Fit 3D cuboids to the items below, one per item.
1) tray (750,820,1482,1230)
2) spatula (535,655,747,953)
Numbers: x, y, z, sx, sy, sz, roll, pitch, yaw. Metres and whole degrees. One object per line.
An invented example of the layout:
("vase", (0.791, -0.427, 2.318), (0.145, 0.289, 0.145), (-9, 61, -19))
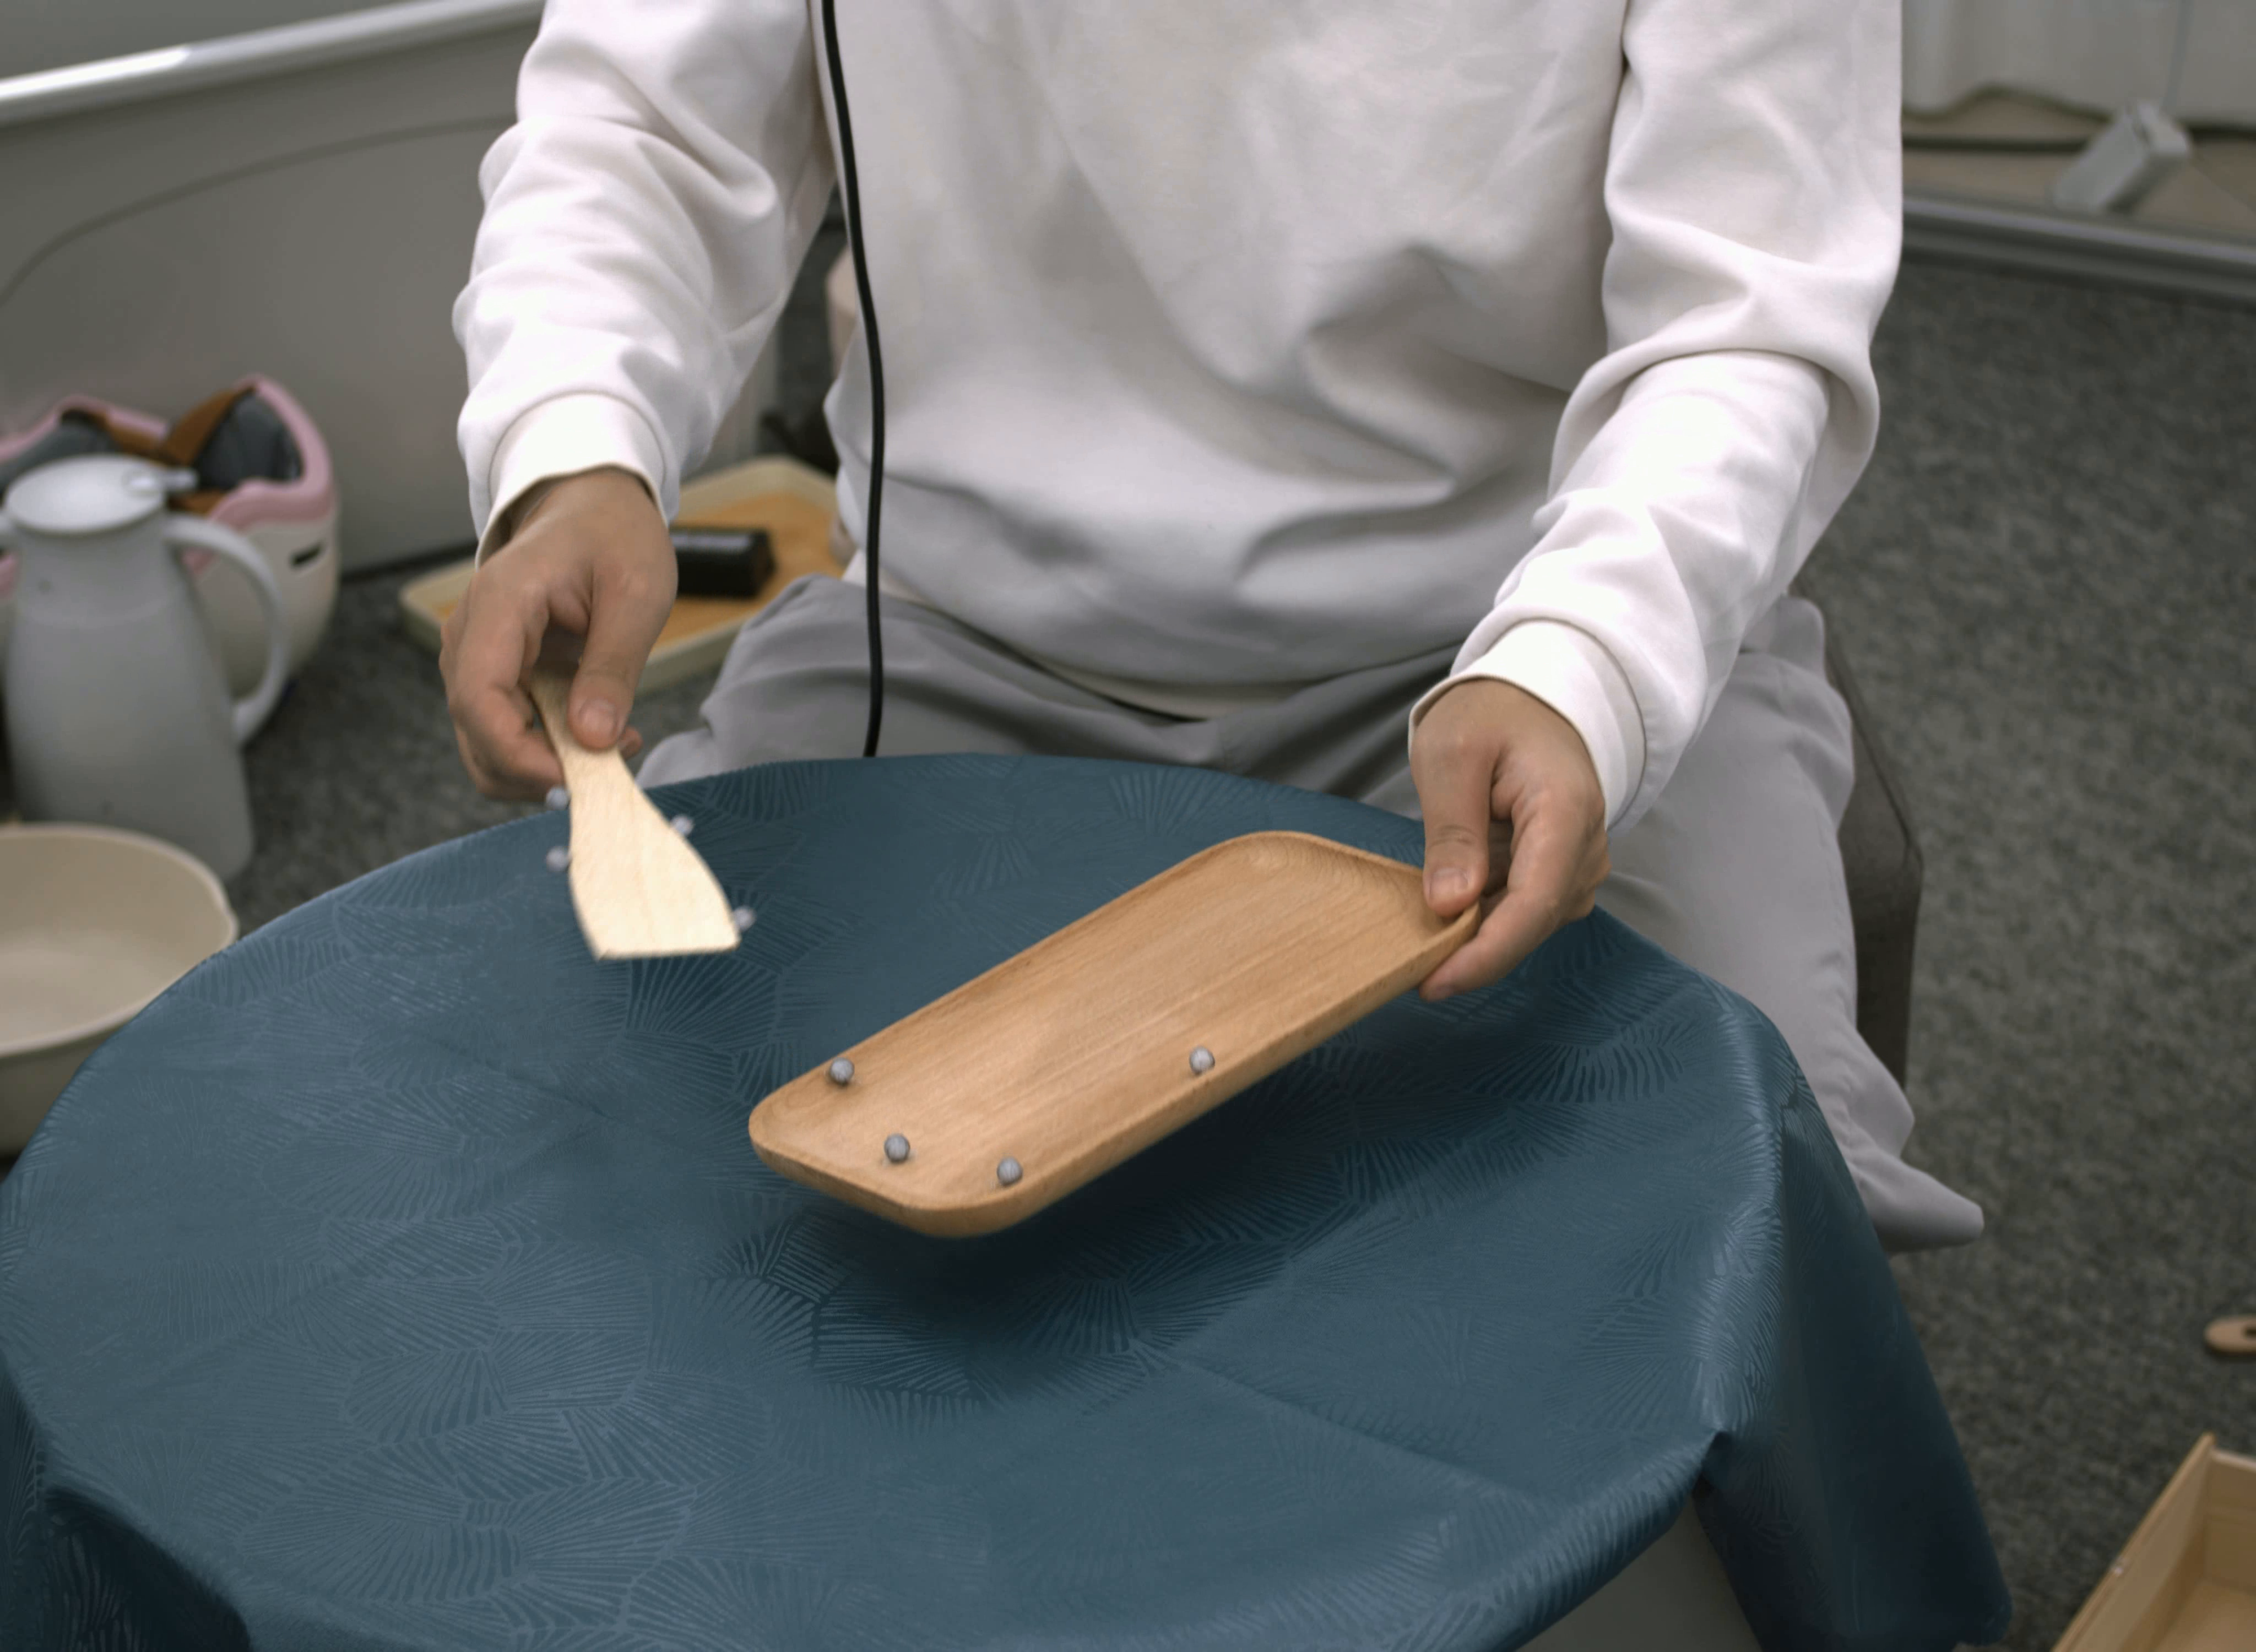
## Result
("tray", (-0.002, 0.064, 1.863), (0.253, 0.022, 0.130), (-28, 32, -34))
("spatula", (-0.175, -0.009, 1.933), (0.050, 0.005, 0.210), (1, 29, -18))
